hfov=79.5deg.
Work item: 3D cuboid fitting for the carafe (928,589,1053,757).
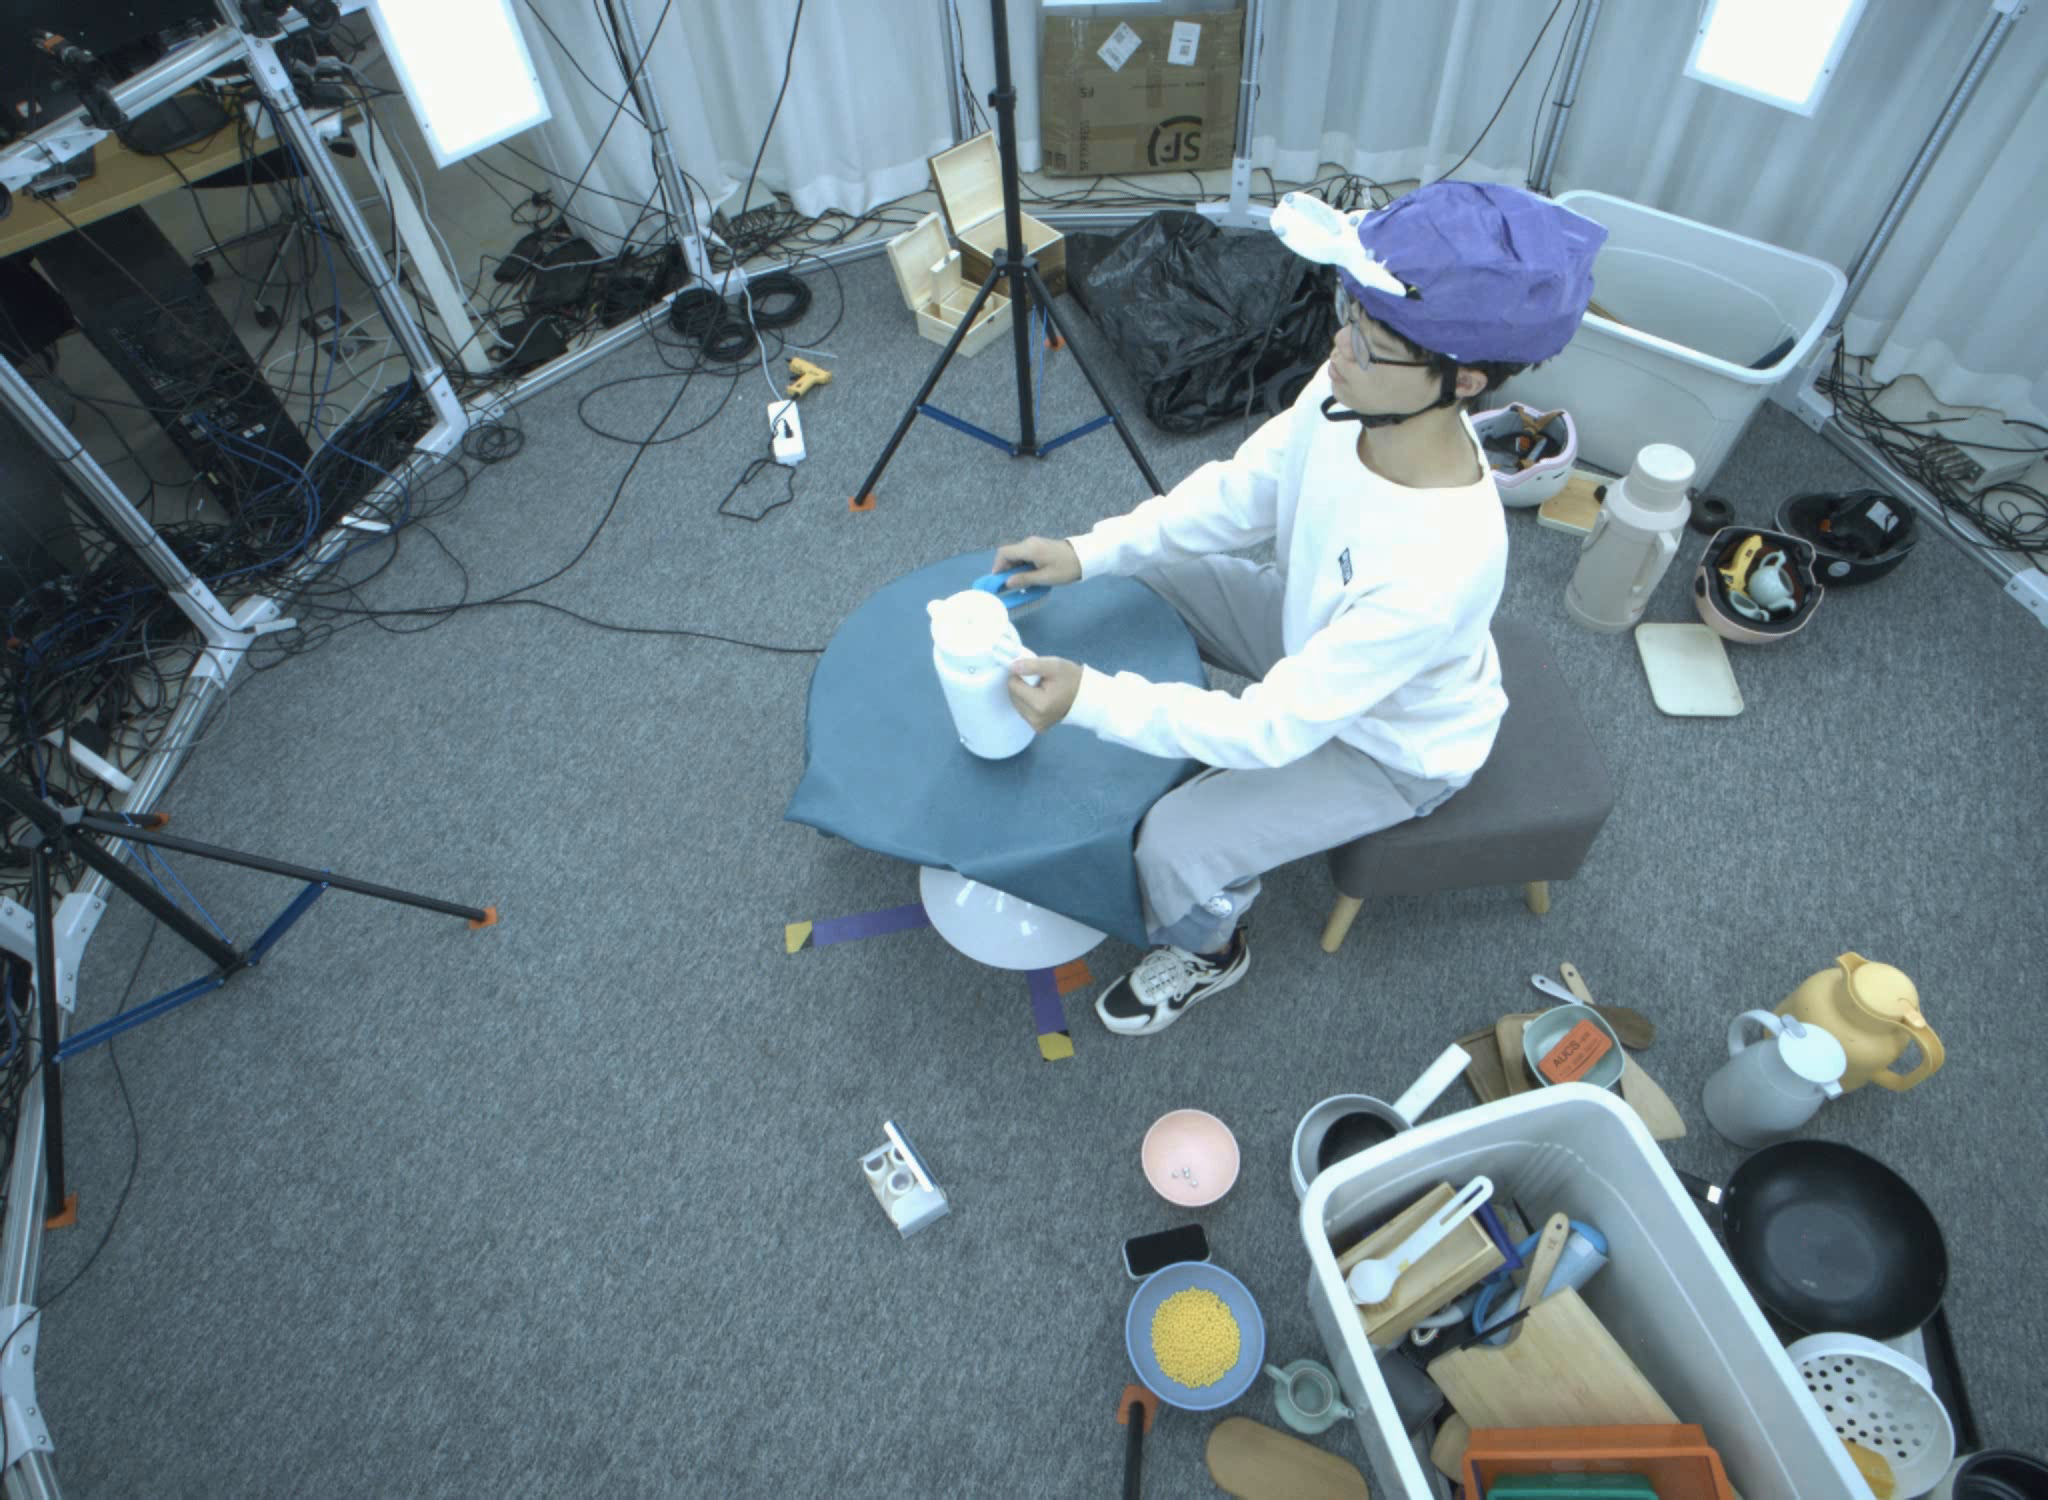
[{"bbox_3d":[-0.037,-0.093,1.648,0.170,0.272,0.124,30,68,20],"label":"carafe"}]

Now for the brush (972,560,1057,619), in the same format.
[{"bbox_3d":[-0.016,-0.250,1.848,0.144,0.064,0.083,-22,56,-29],"label":"brush"}]
